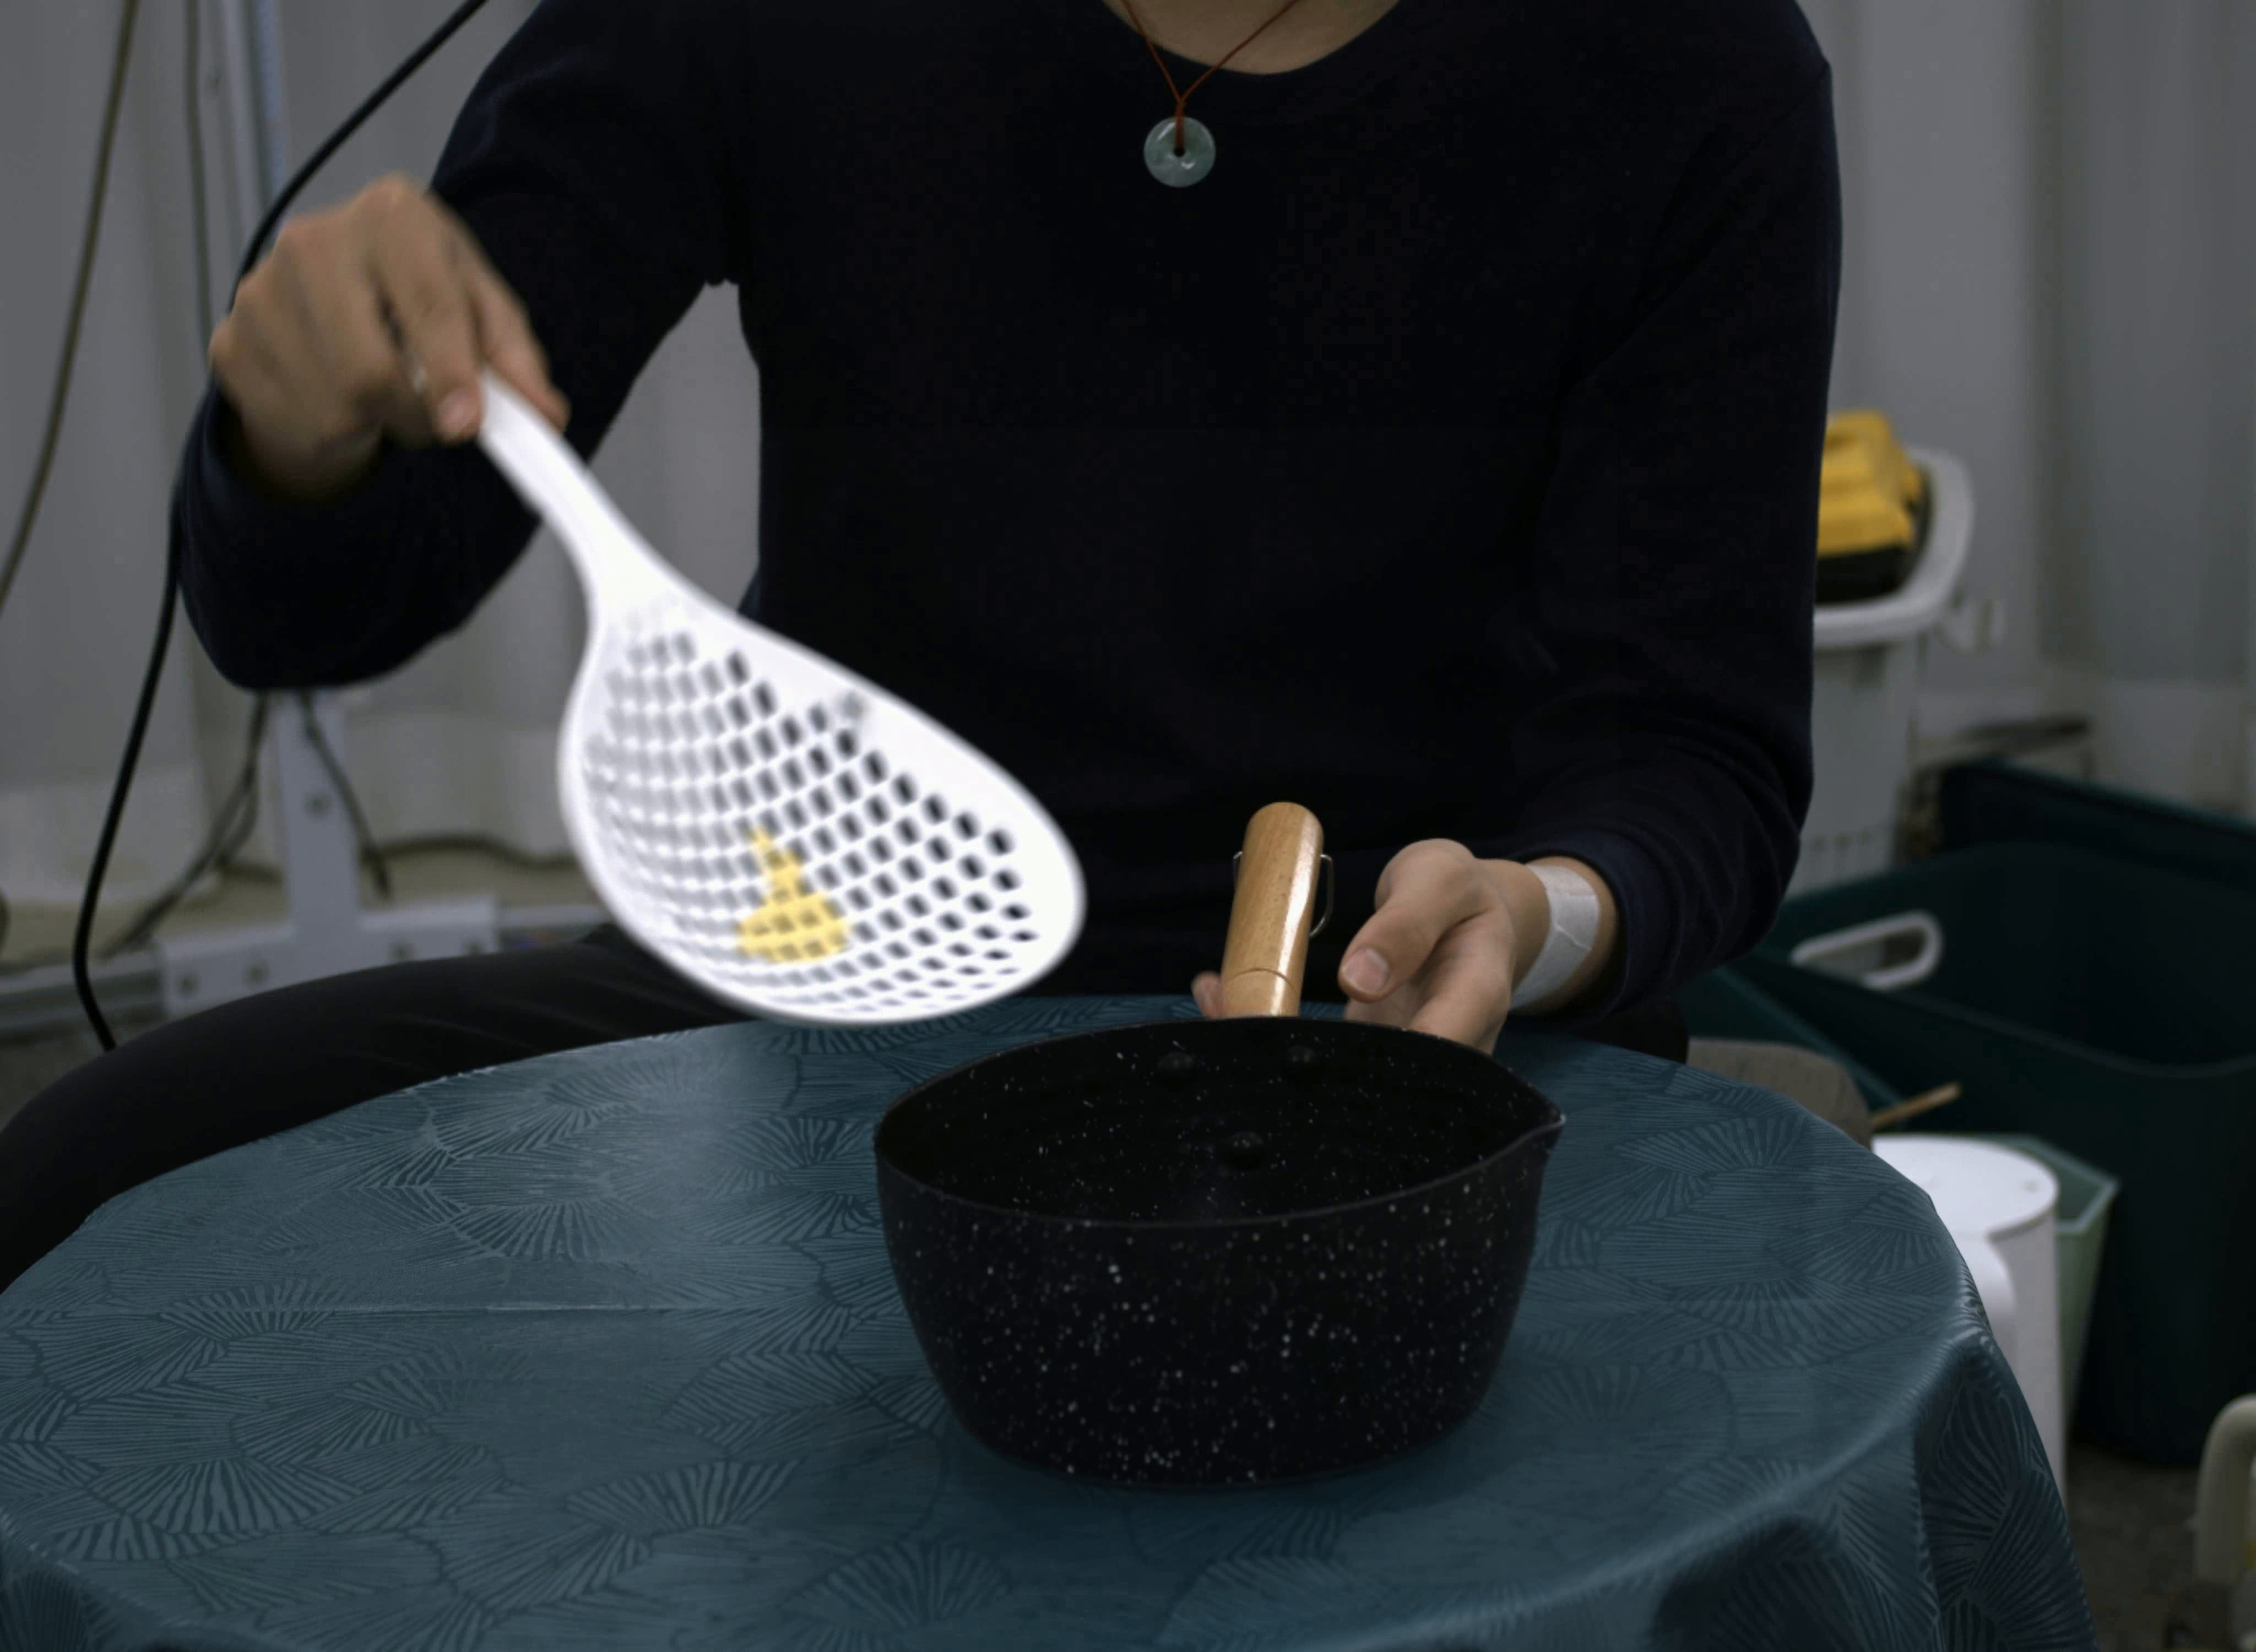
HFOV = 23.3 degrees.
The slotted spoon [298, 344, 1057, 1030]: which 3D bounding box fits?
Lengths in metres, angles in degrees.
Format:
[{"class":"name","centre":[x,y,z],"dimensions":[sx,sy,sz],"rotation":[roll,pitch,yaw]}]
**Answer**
[{"class":"slotted spoon","centre":[-0.146,-0.050,1.537],"dimensions":[0.136,0.050,0.353],"rotation":[-11,47,-31]}]

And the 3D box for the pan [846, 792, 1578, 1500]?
[{"class":"pan","centre":[0.031,0.088,1.601],"dimensions":[0.207,0.108,0.345],"rotation":[-2,16,7]}]
